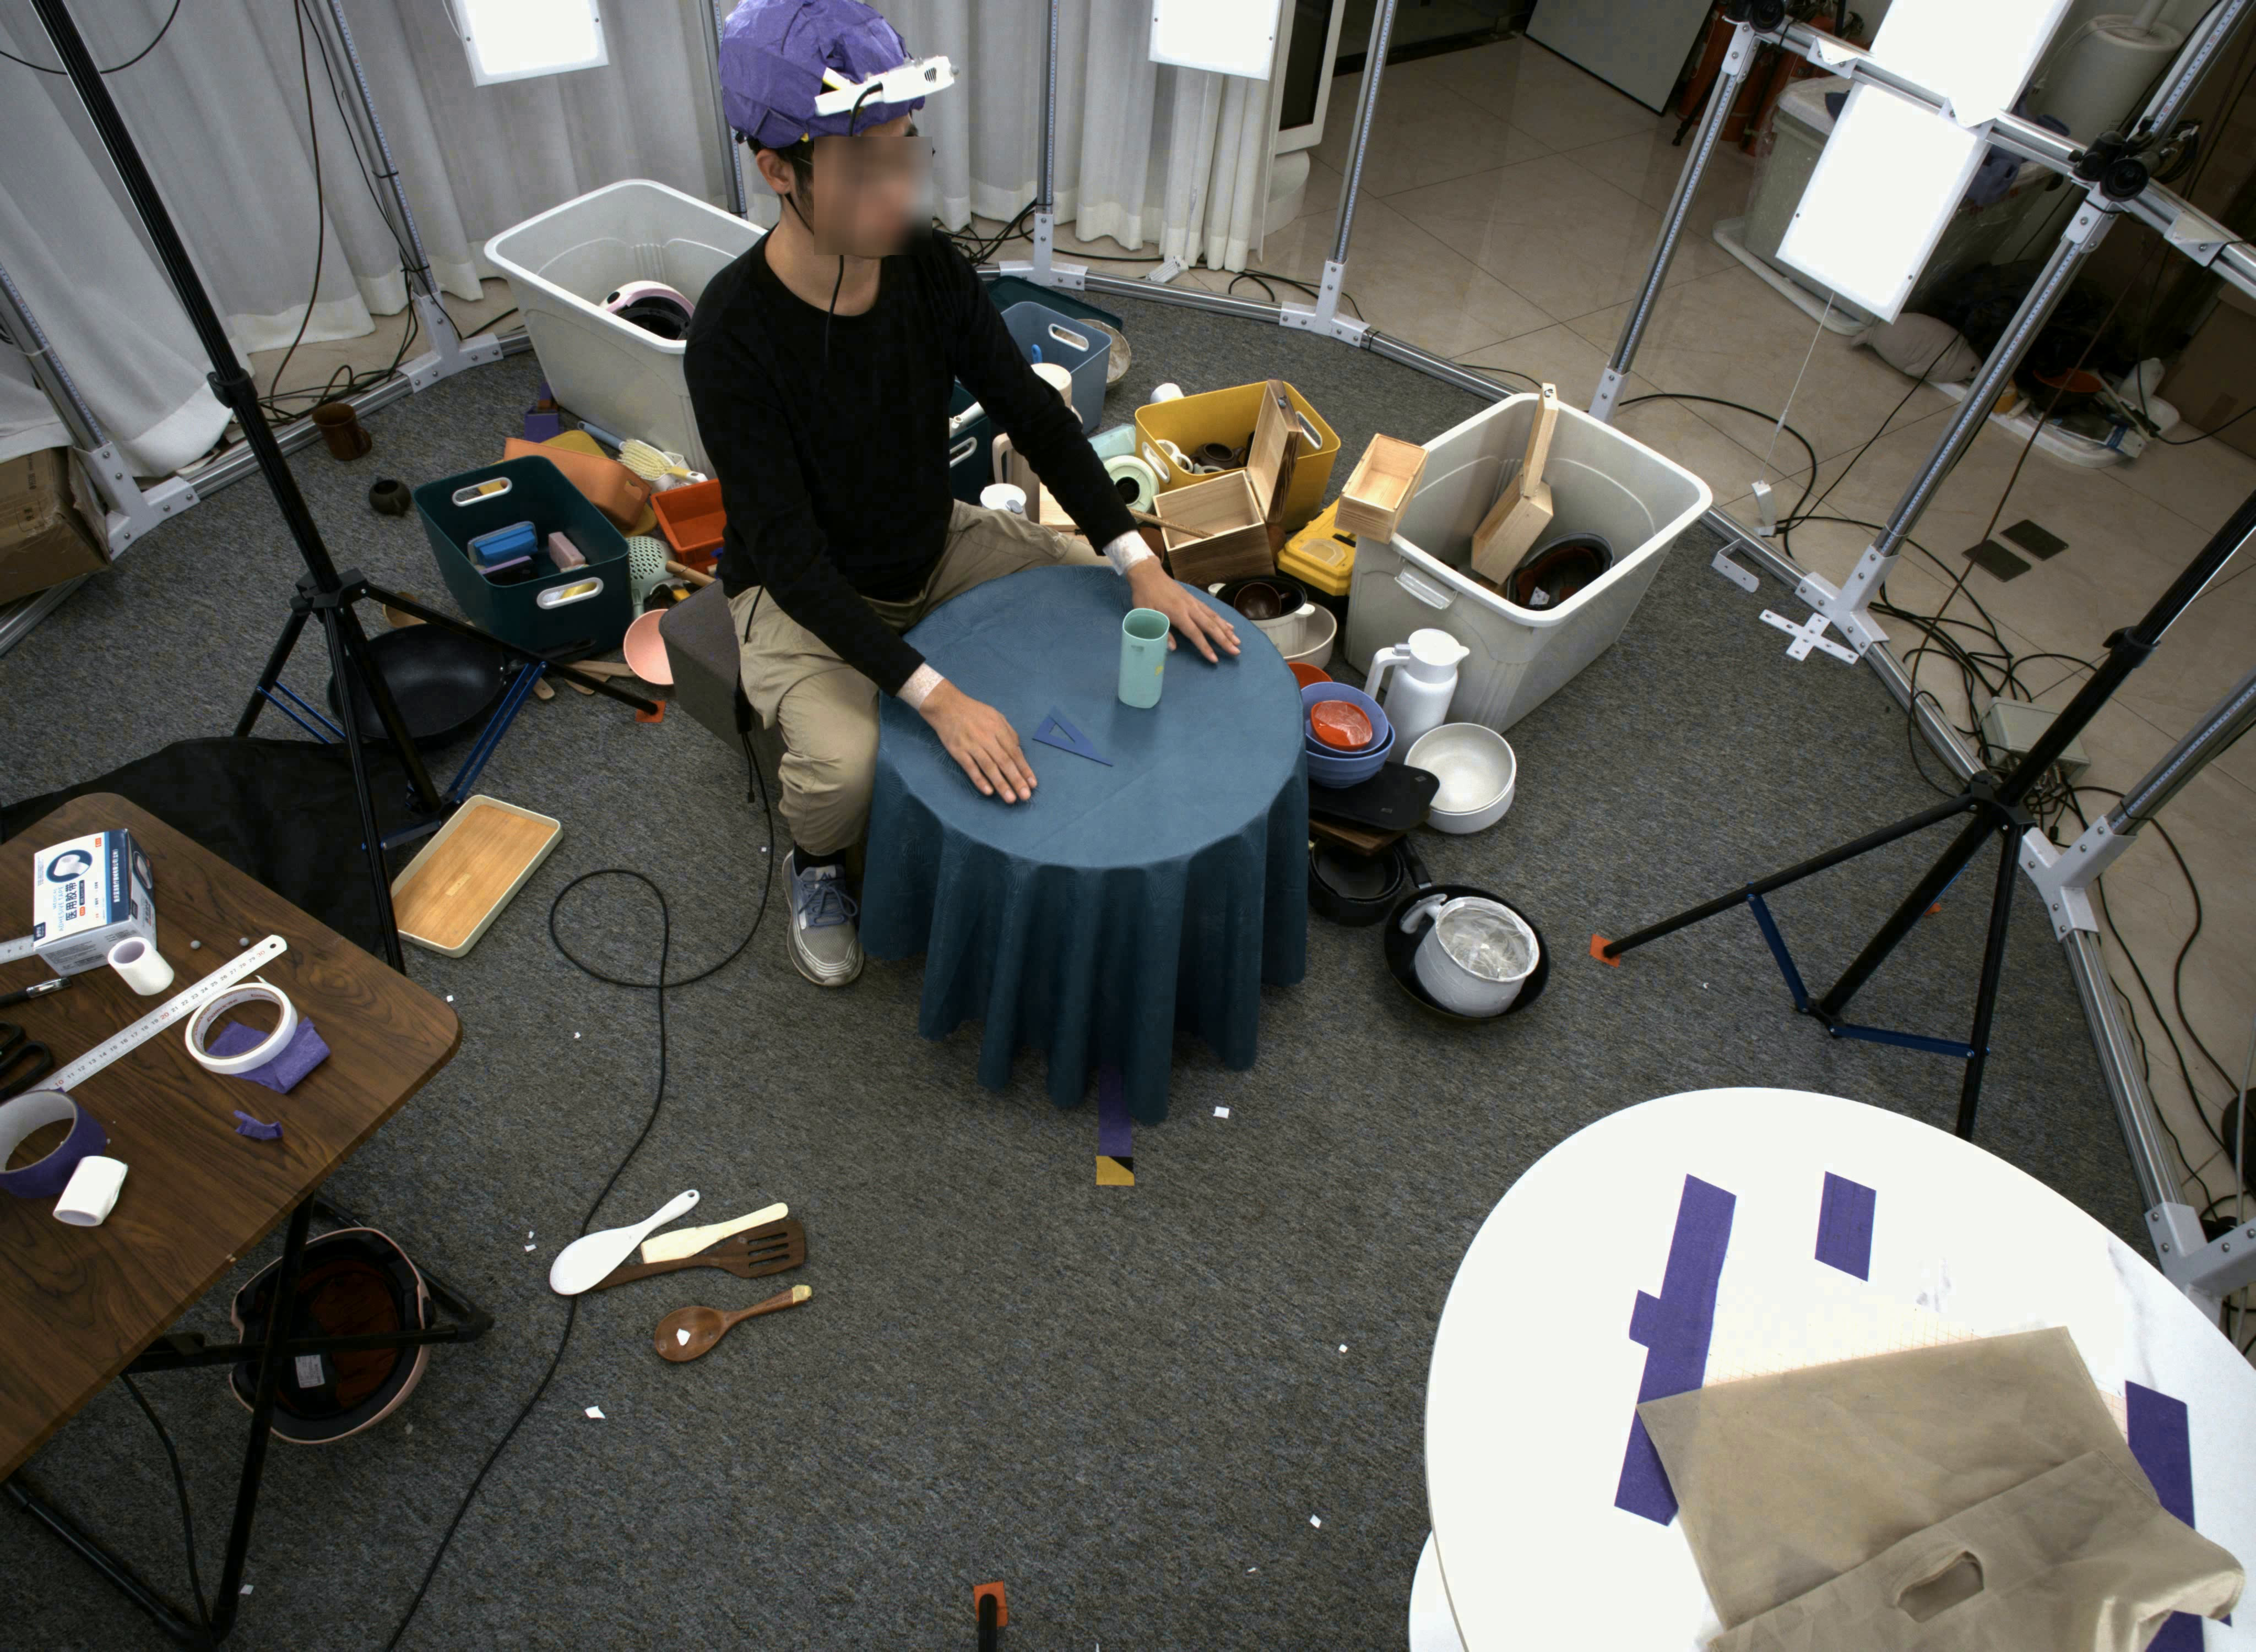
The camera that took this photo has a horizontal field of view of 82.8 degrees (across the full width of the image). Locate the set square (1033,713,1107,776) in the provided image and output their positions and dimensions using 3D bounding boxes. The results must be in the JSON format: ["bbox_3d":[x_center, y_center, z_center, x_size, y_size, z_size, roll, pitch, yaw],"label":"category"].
[{"bbox_3d":[-0.085,-0.105,1.752,0.061,0.006,0.134,-23,55,-24],"label":"set square"}]

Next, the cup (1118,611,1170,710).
[{"bbox_3d":[0.020,-0.231,1.792,0.066,0.129,0.068,2,50,-3],"label":"cup"}]
